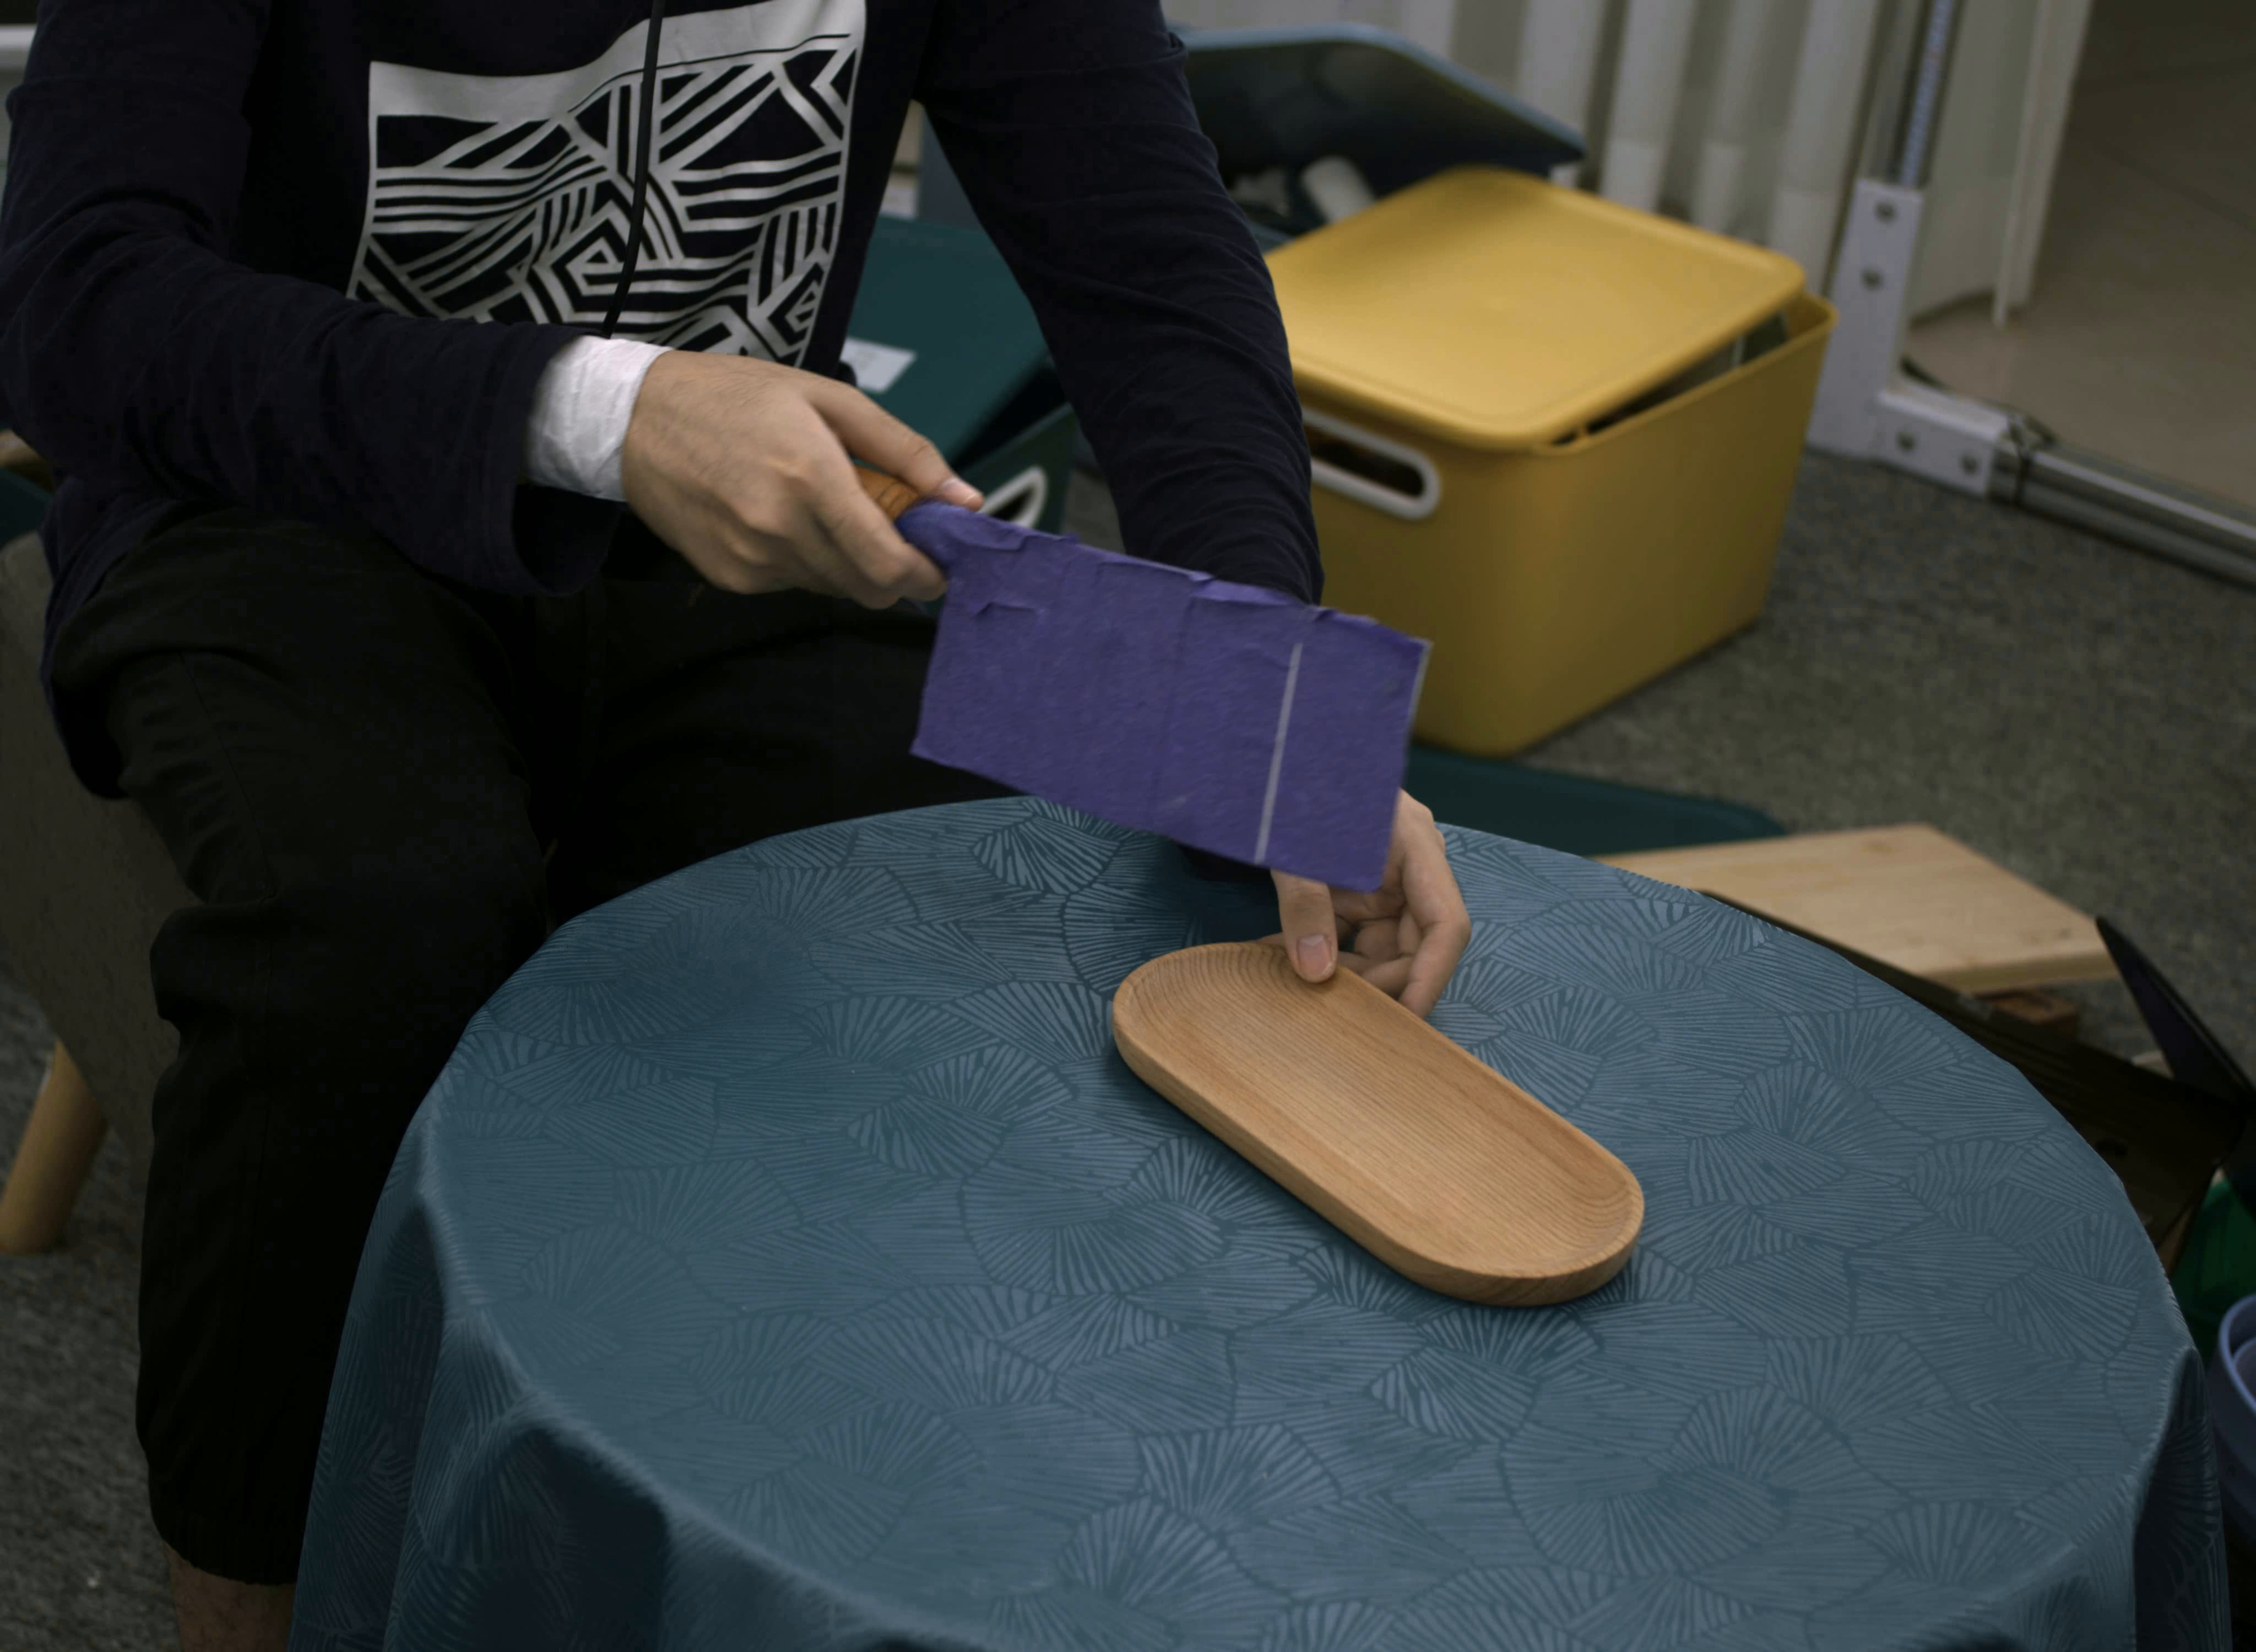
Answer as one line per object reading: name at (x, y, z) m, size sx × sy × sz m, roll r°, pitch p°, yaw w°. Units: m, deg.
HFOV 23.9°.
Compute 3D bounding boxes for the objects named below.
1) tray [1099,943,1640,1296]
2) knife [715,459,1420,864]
tray at (0.081, 0.100, 1.847) m, size 0.101 × 0.020 × 0.233 m, roll -18°, pitch 34°, yaw -35°
knife at (-0.032, -0.058, 1.857) m, size 0.317 × 0.104 × 0.032 m, roll 17°, pitch 7°, yaw 40°
